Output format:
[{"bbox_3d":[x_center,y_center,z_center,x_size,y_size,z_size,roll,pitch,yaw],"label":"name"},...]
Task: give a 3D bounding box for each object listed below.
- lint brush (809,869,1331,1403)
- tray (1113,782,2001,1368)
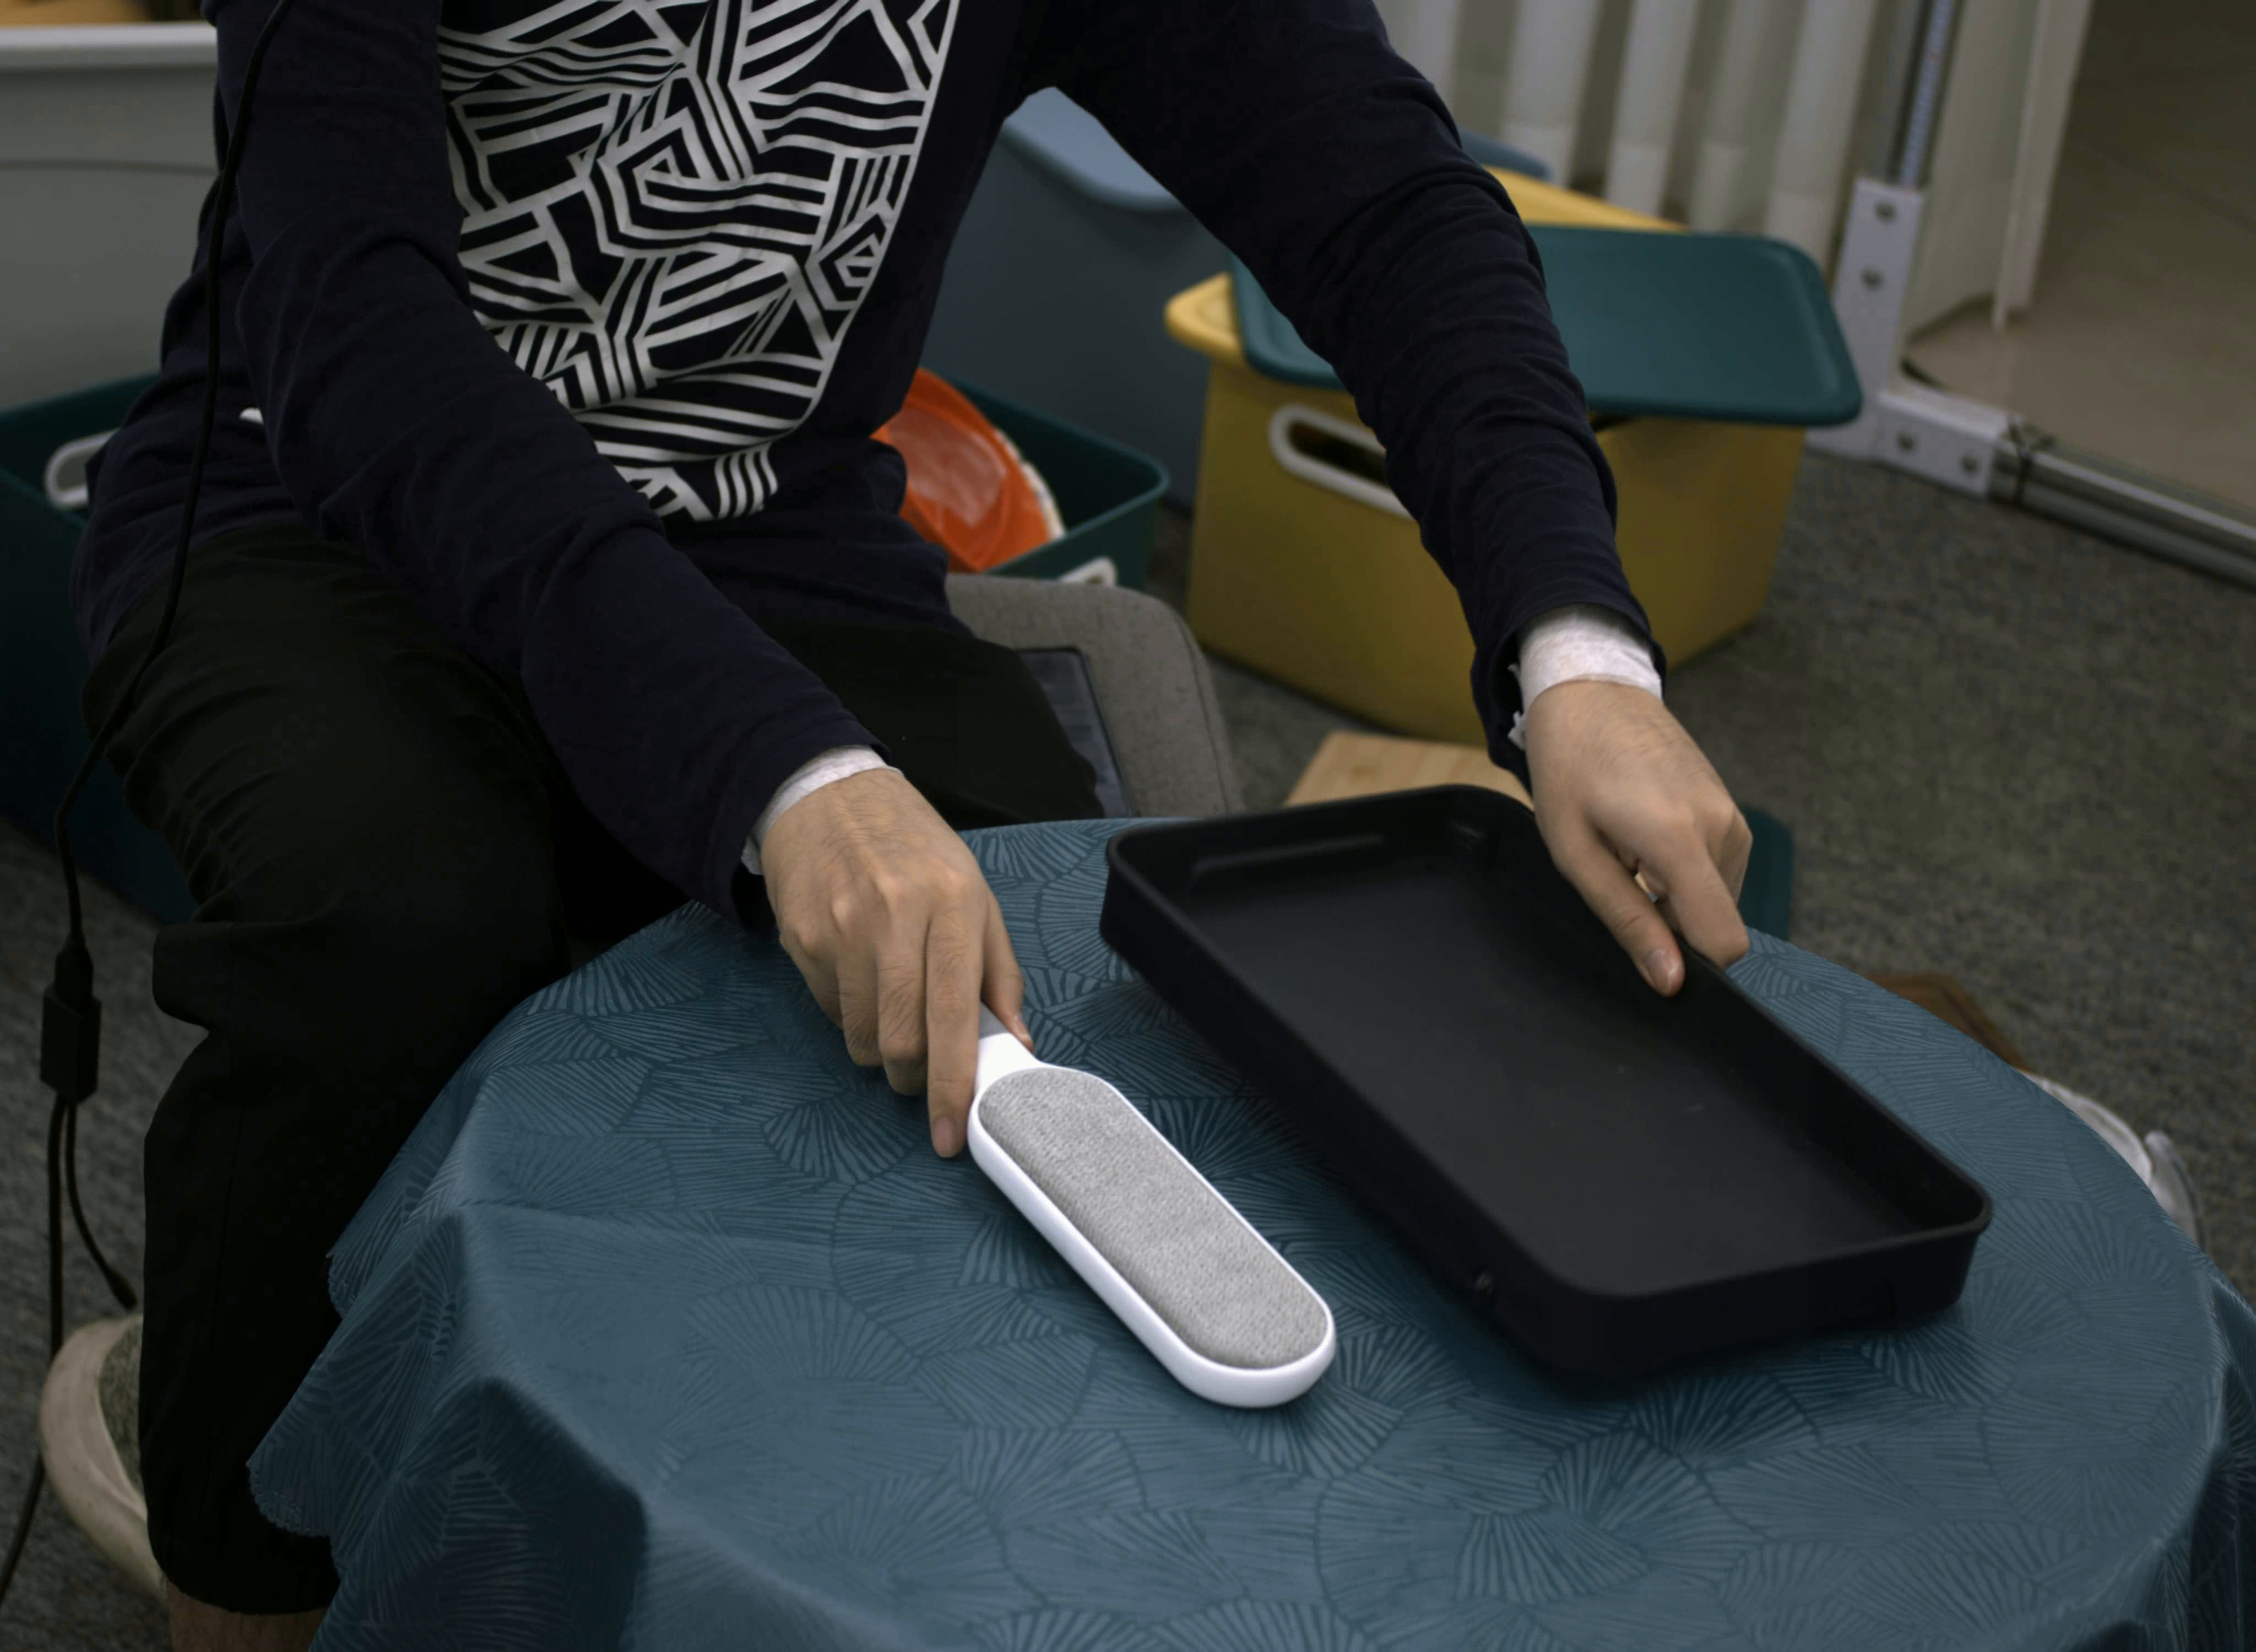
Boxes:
[{"bbox_3d":[-0.027,0.099,1.794,0.060,0.021,0.312,-21,41,-23],"label":"lint brush"},{"bbox_3d":[0.141,0.079,1.847,0.183,0.037,0.321,-5,31,-31],"label":"tray"}]
